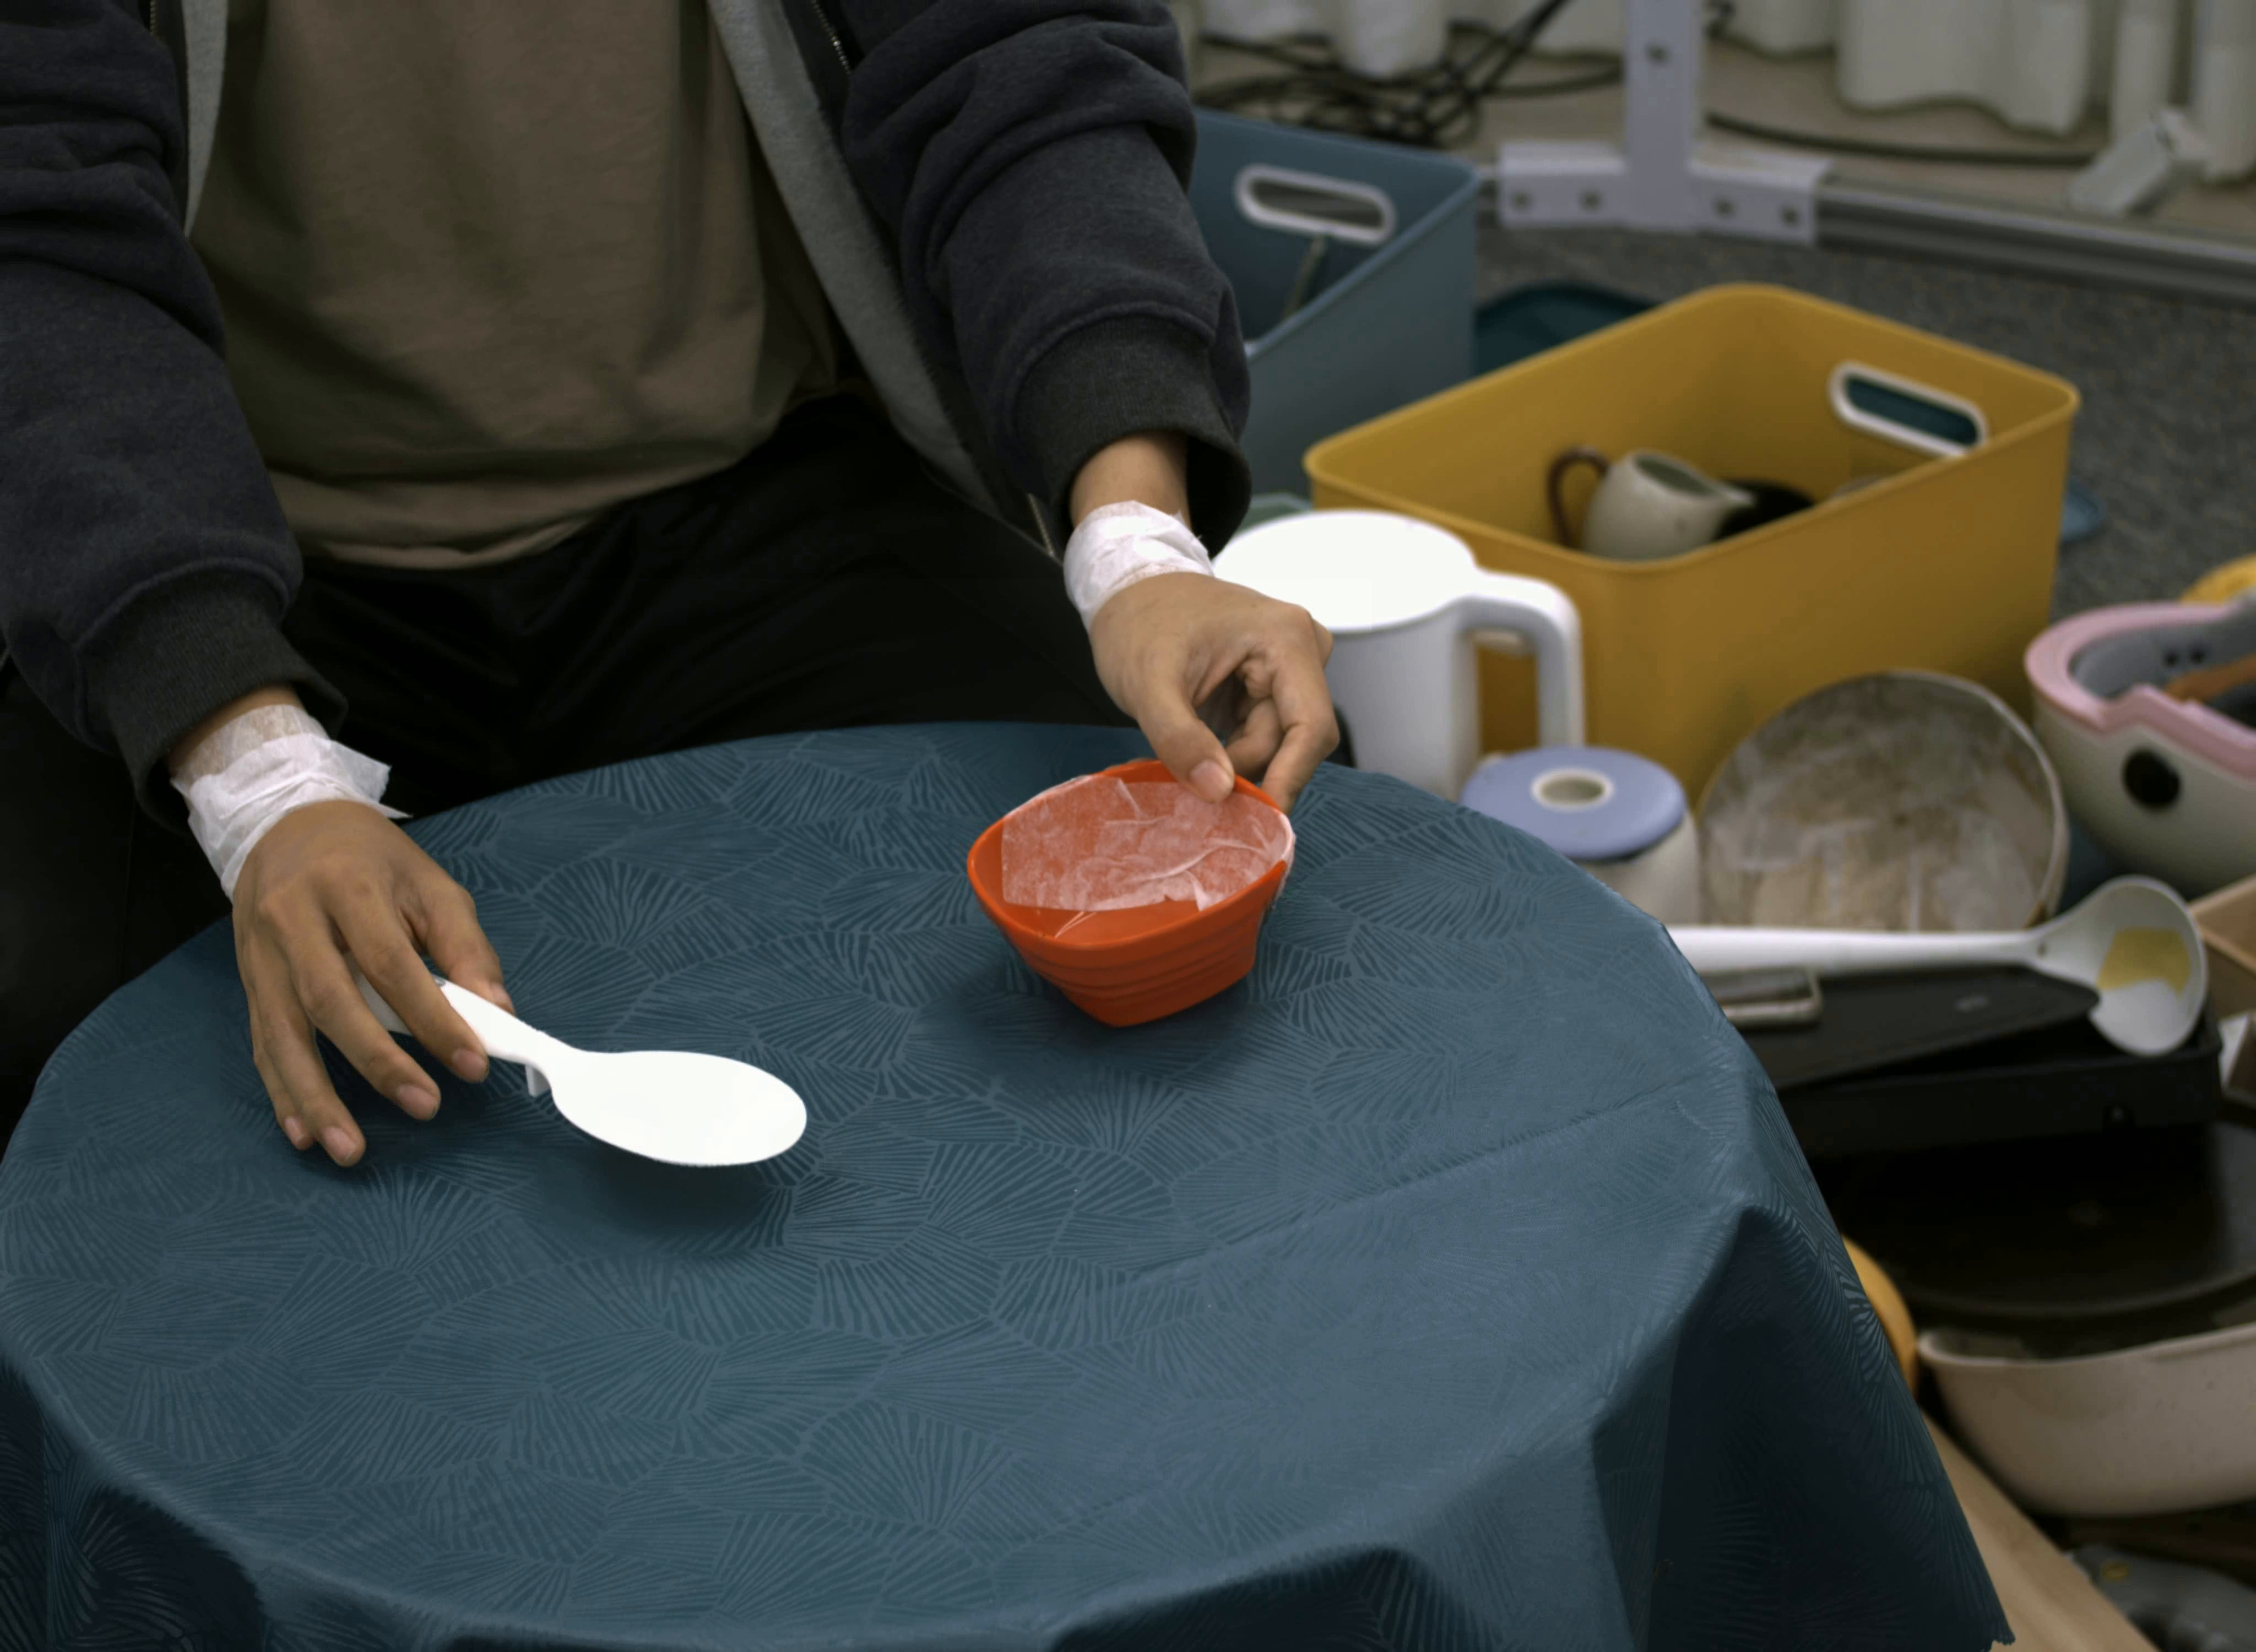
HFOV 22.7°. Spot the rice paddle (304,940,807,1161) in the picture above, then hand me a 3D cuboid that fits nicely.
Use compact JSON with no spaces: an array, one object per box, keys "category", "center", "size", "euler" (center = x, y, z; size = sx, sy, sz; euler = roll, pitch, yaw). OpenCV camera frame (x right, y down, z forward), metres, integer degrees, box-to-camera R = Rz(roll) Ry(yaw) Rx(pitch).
[{"category":"rice paddle","center":[-0.194,0.078,1.901],"size":[0.204,0.029,0.070],"euler":[16,31,33]}]

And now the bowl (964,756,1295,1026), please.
[{"category":"bowl","center":[0.004,0.028,1.978],"size":[0.118,0.051,0.121],"euler":[-7,32,5]}]
